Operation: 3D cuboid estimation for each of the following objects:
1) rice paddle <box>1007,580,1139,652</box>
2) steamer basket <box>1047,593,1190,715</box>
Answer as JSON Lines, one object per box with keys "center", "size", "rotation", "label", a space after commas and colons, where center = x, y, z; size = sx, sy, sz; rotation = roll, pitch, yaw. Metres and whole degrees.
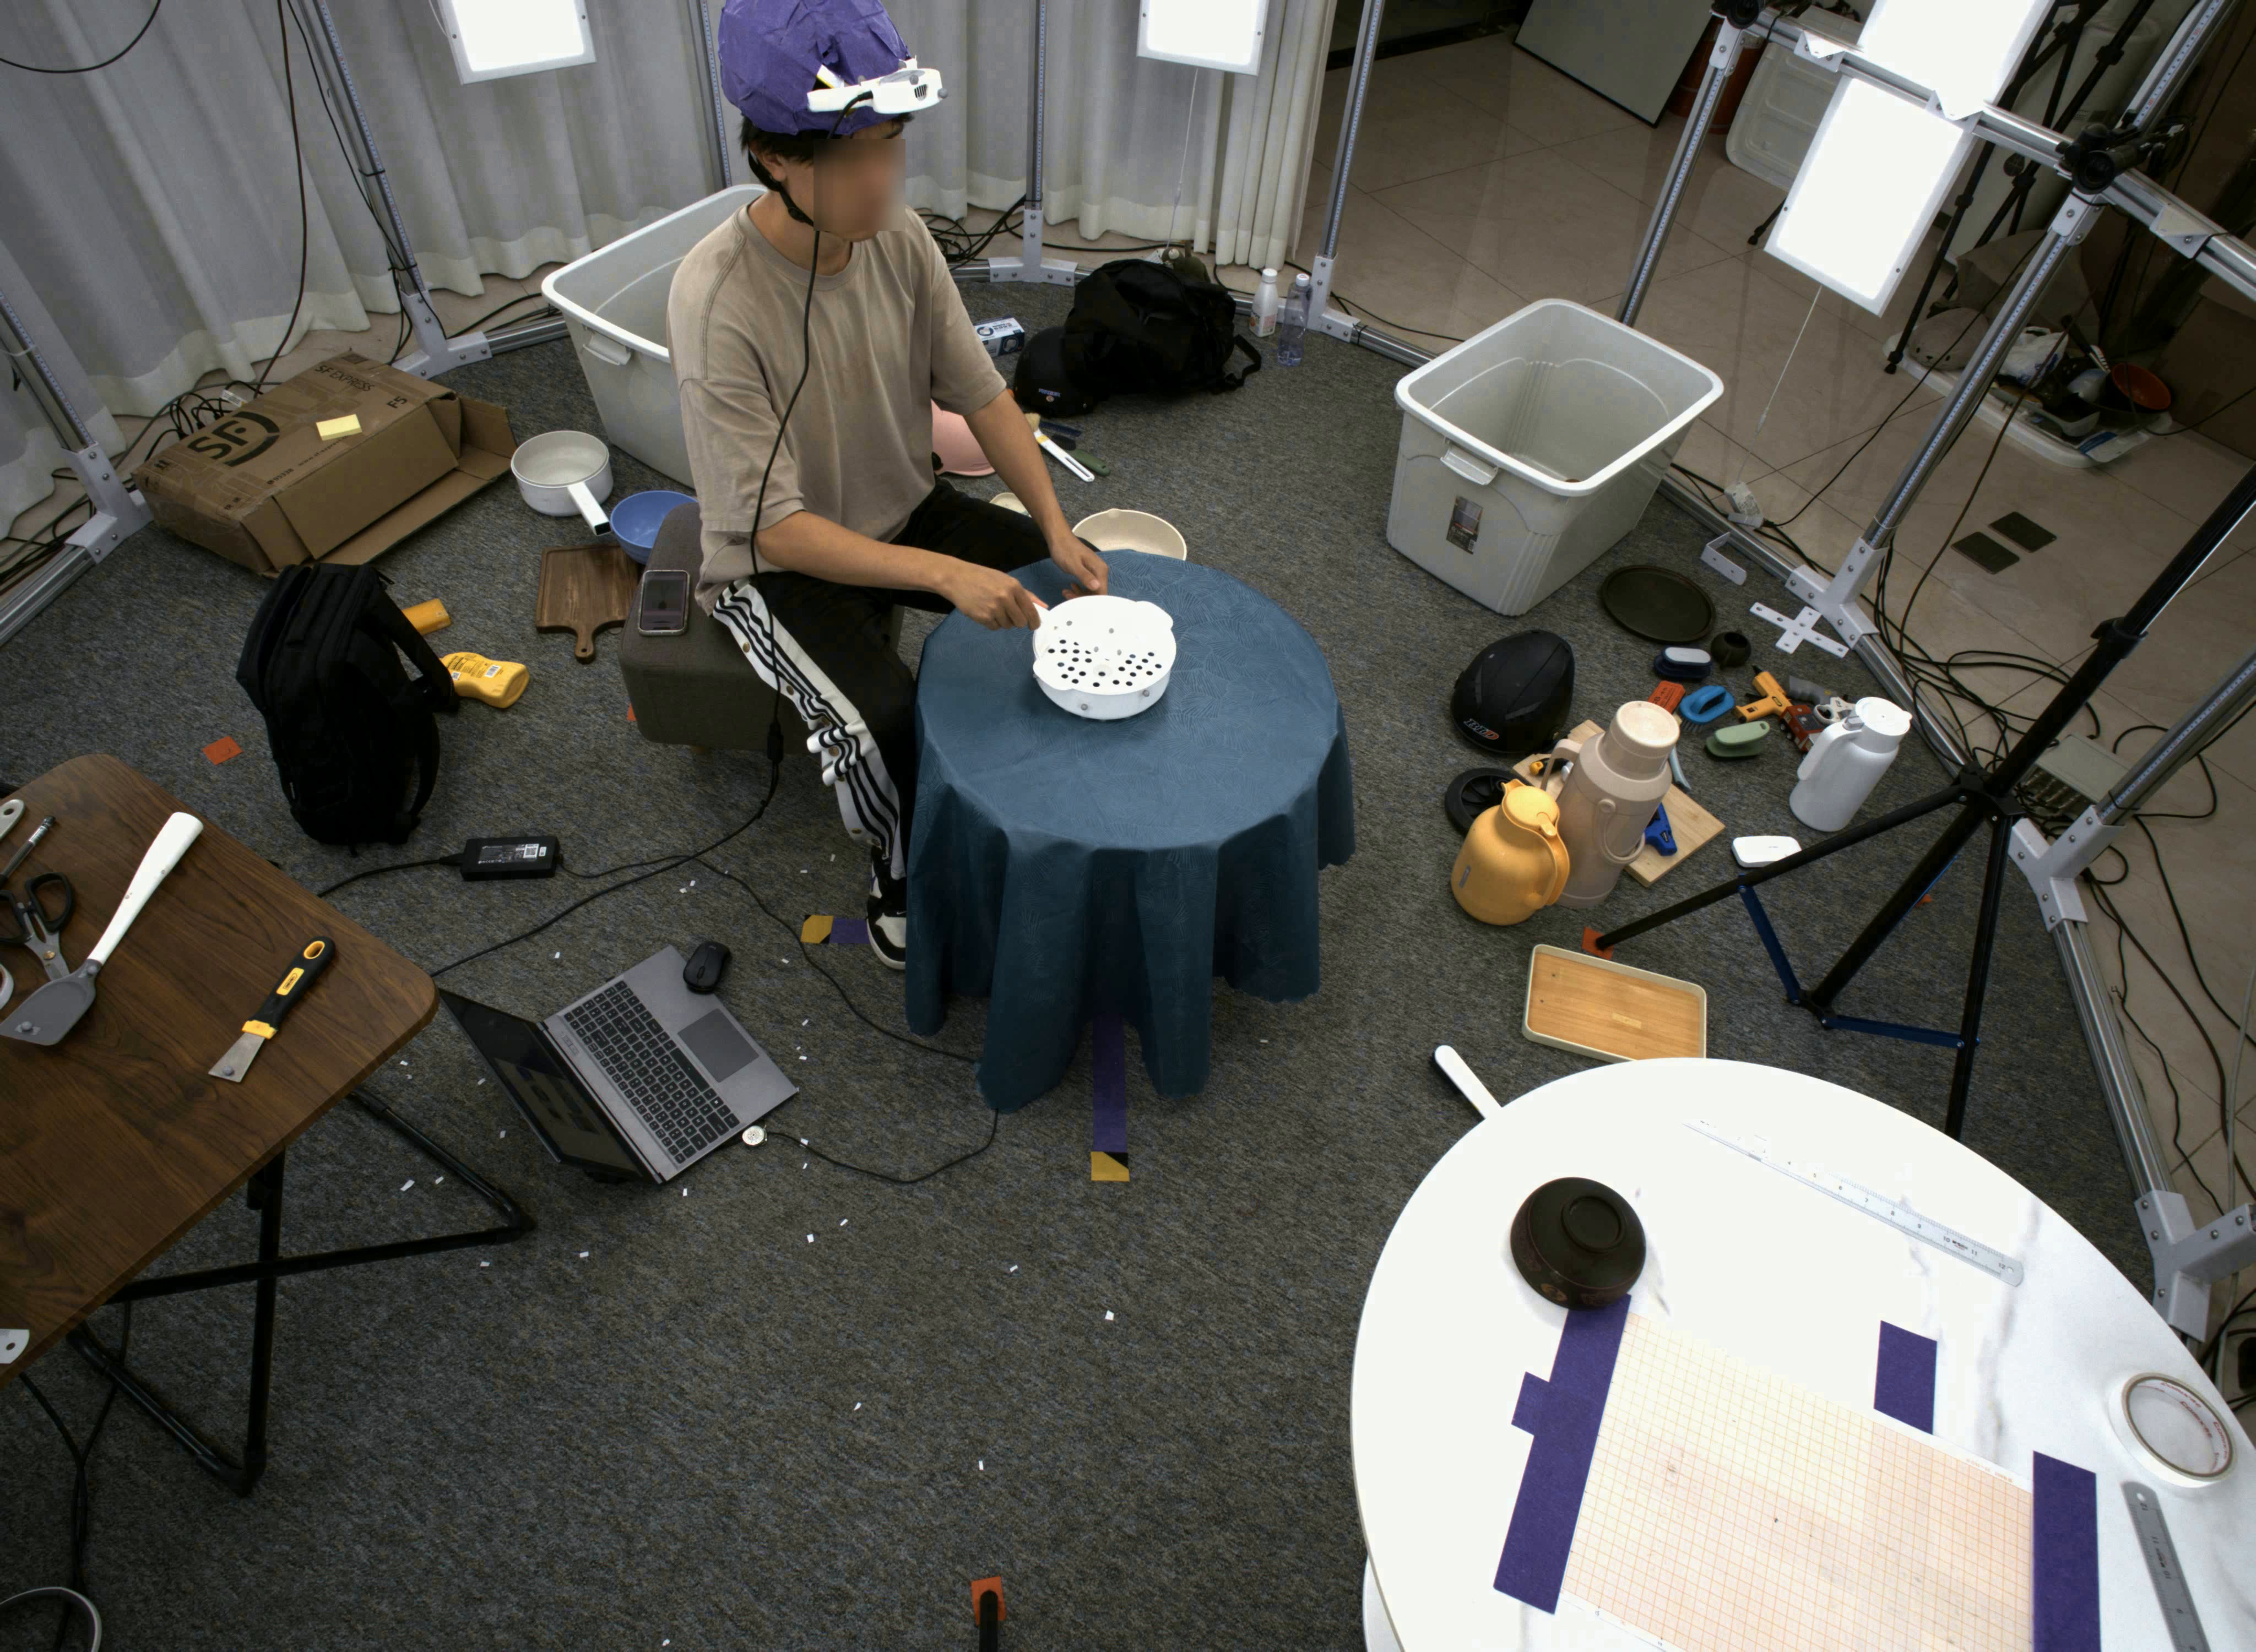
{"center": [-0.070, -0.292, 1.779], "size": [0.203, 0.029, 0.070], "rotation": [17, 52, -27], "label": "rice paddle"}
{"center": [-0.016, -0.243, 1.822], "size": [0.232, 0.067, 0.205], "rotation": [-32, 59, -32], "label": "steamer basket"}
